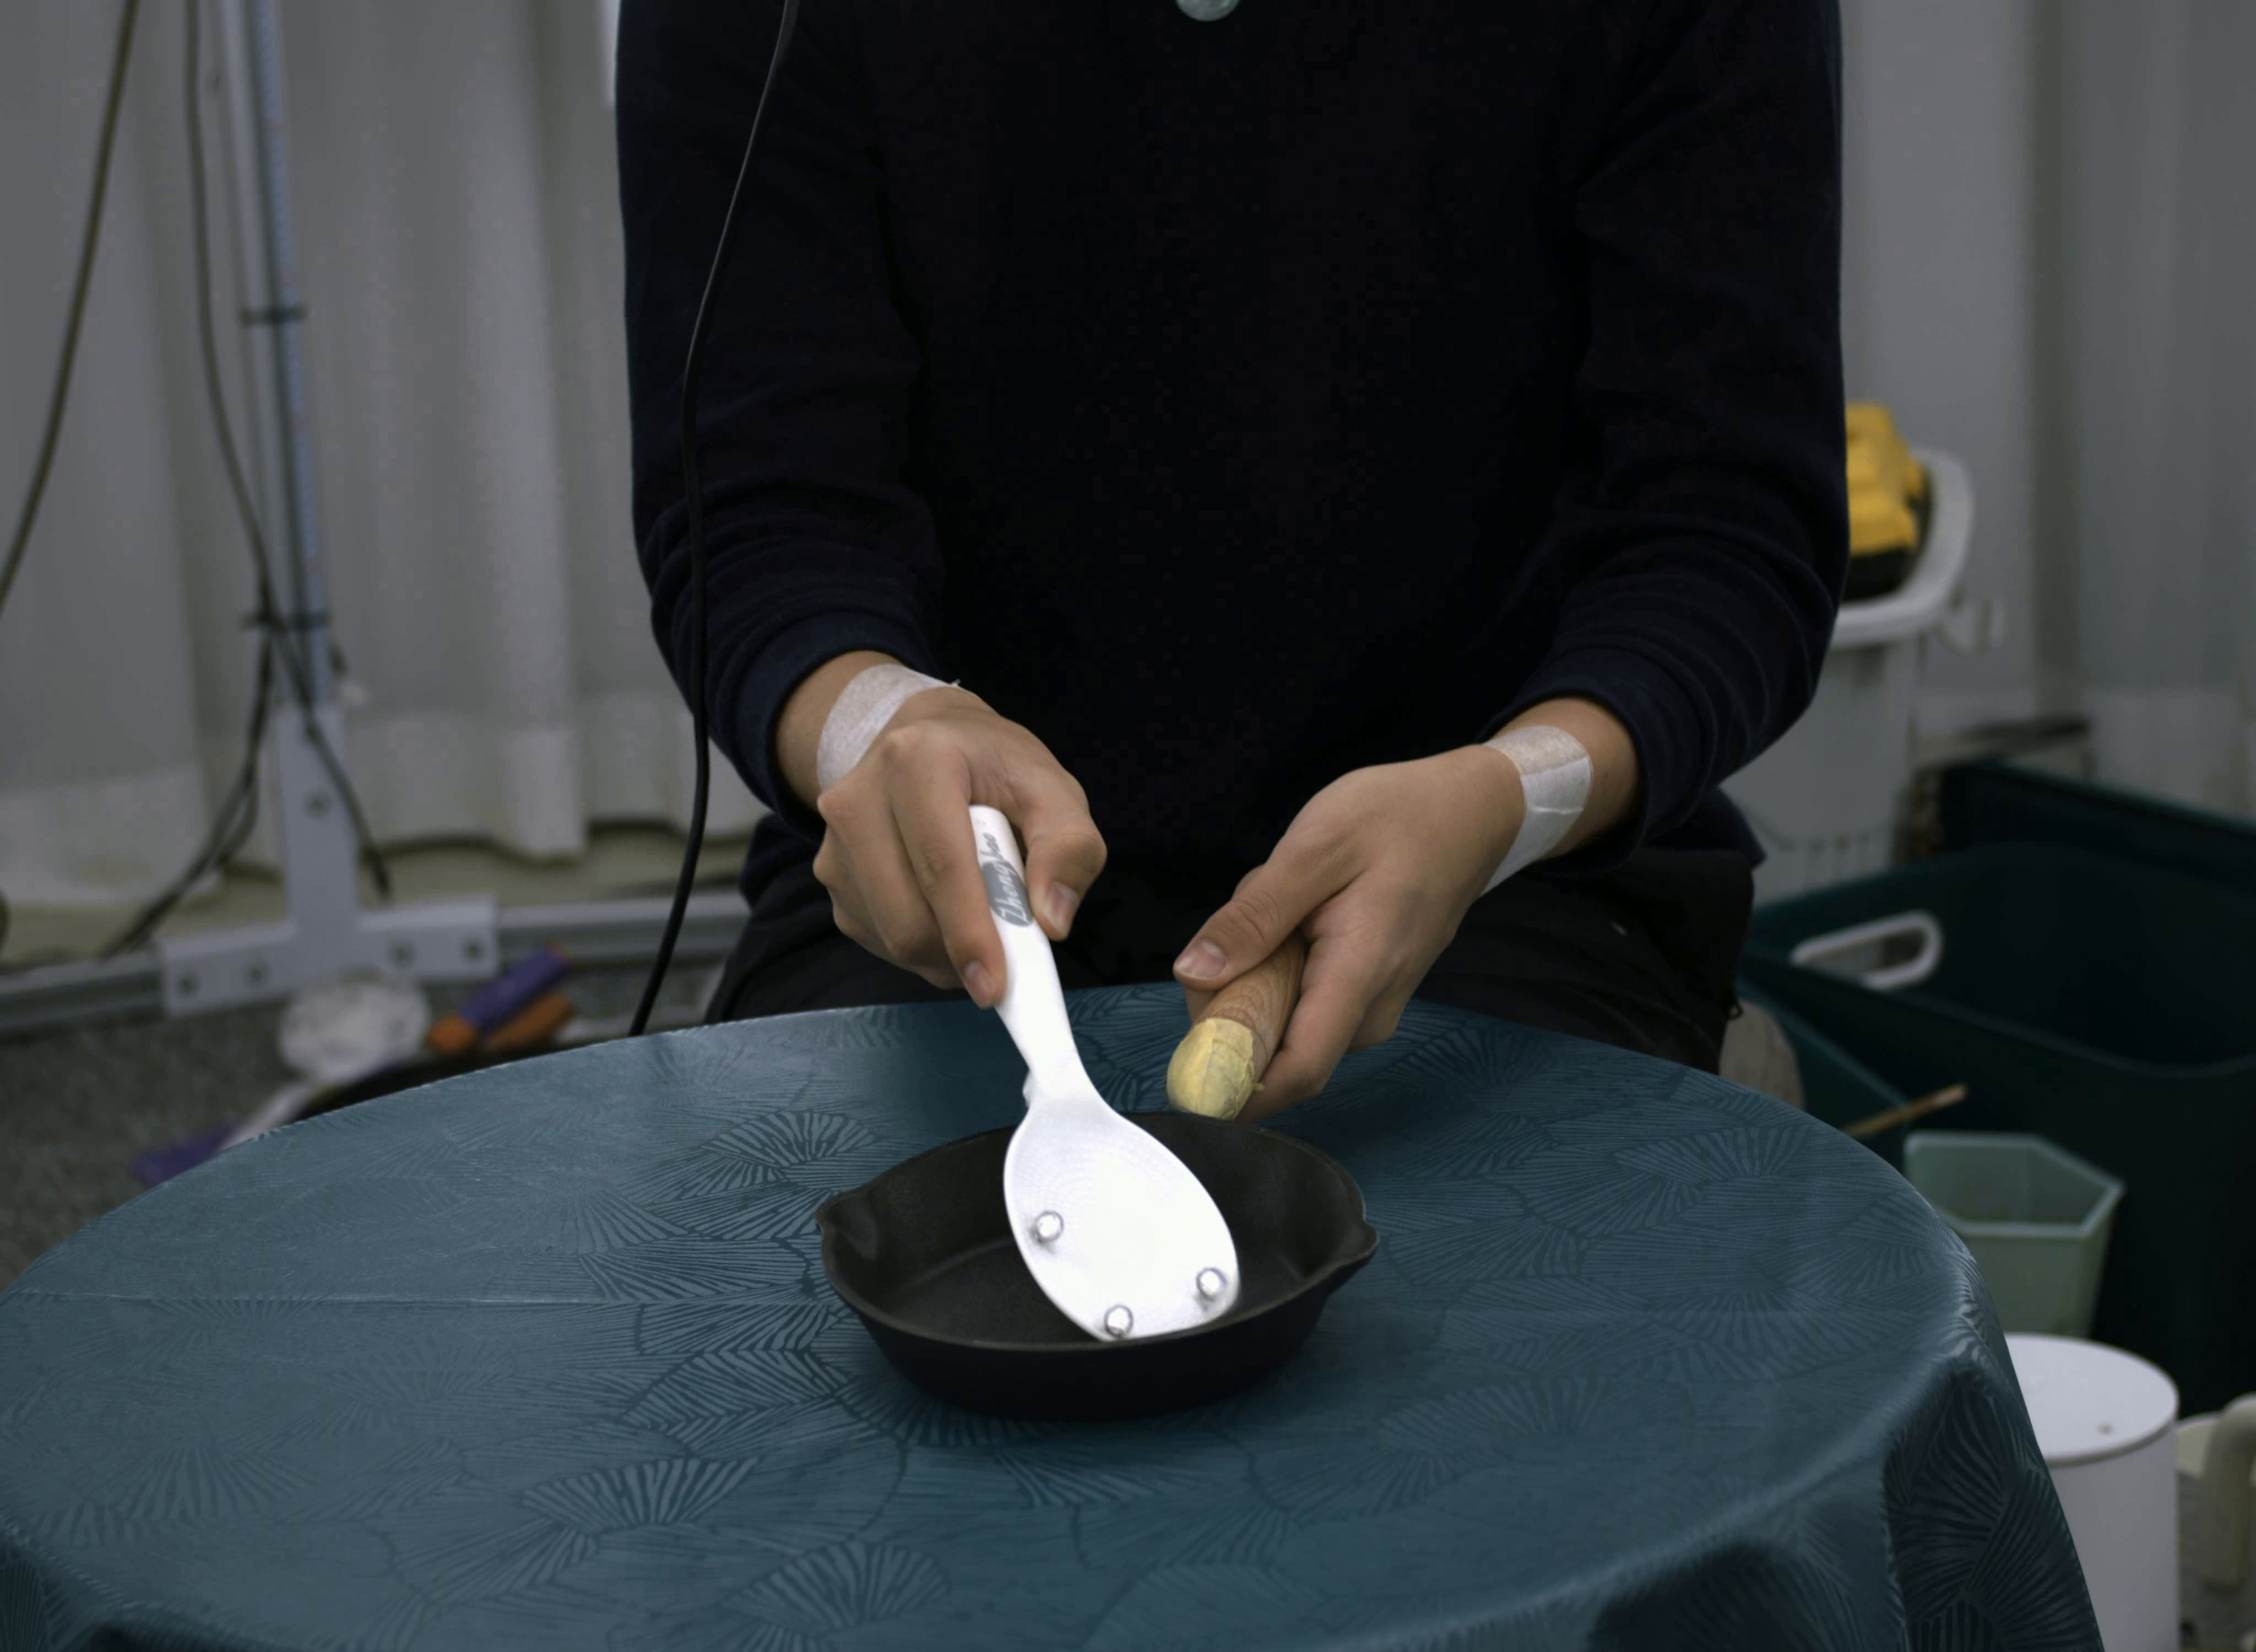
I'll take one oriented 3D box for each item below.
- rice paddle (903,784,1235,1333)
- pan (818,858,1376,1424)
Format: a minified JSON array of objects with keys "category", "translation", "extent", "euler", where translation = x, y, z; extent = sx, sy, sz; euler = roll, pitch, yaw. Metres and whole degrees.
[{"category":"rice paddle","translation":[-0.021,0.071,1.624],"extent":[0.068,0.029,0.208],"euler":[-1,47,-26]},{"category":"pan","translation":[0.019,0.091,1.648],"extent":[0.169,0.049,0.326],"euler":[3,23,20]}]
